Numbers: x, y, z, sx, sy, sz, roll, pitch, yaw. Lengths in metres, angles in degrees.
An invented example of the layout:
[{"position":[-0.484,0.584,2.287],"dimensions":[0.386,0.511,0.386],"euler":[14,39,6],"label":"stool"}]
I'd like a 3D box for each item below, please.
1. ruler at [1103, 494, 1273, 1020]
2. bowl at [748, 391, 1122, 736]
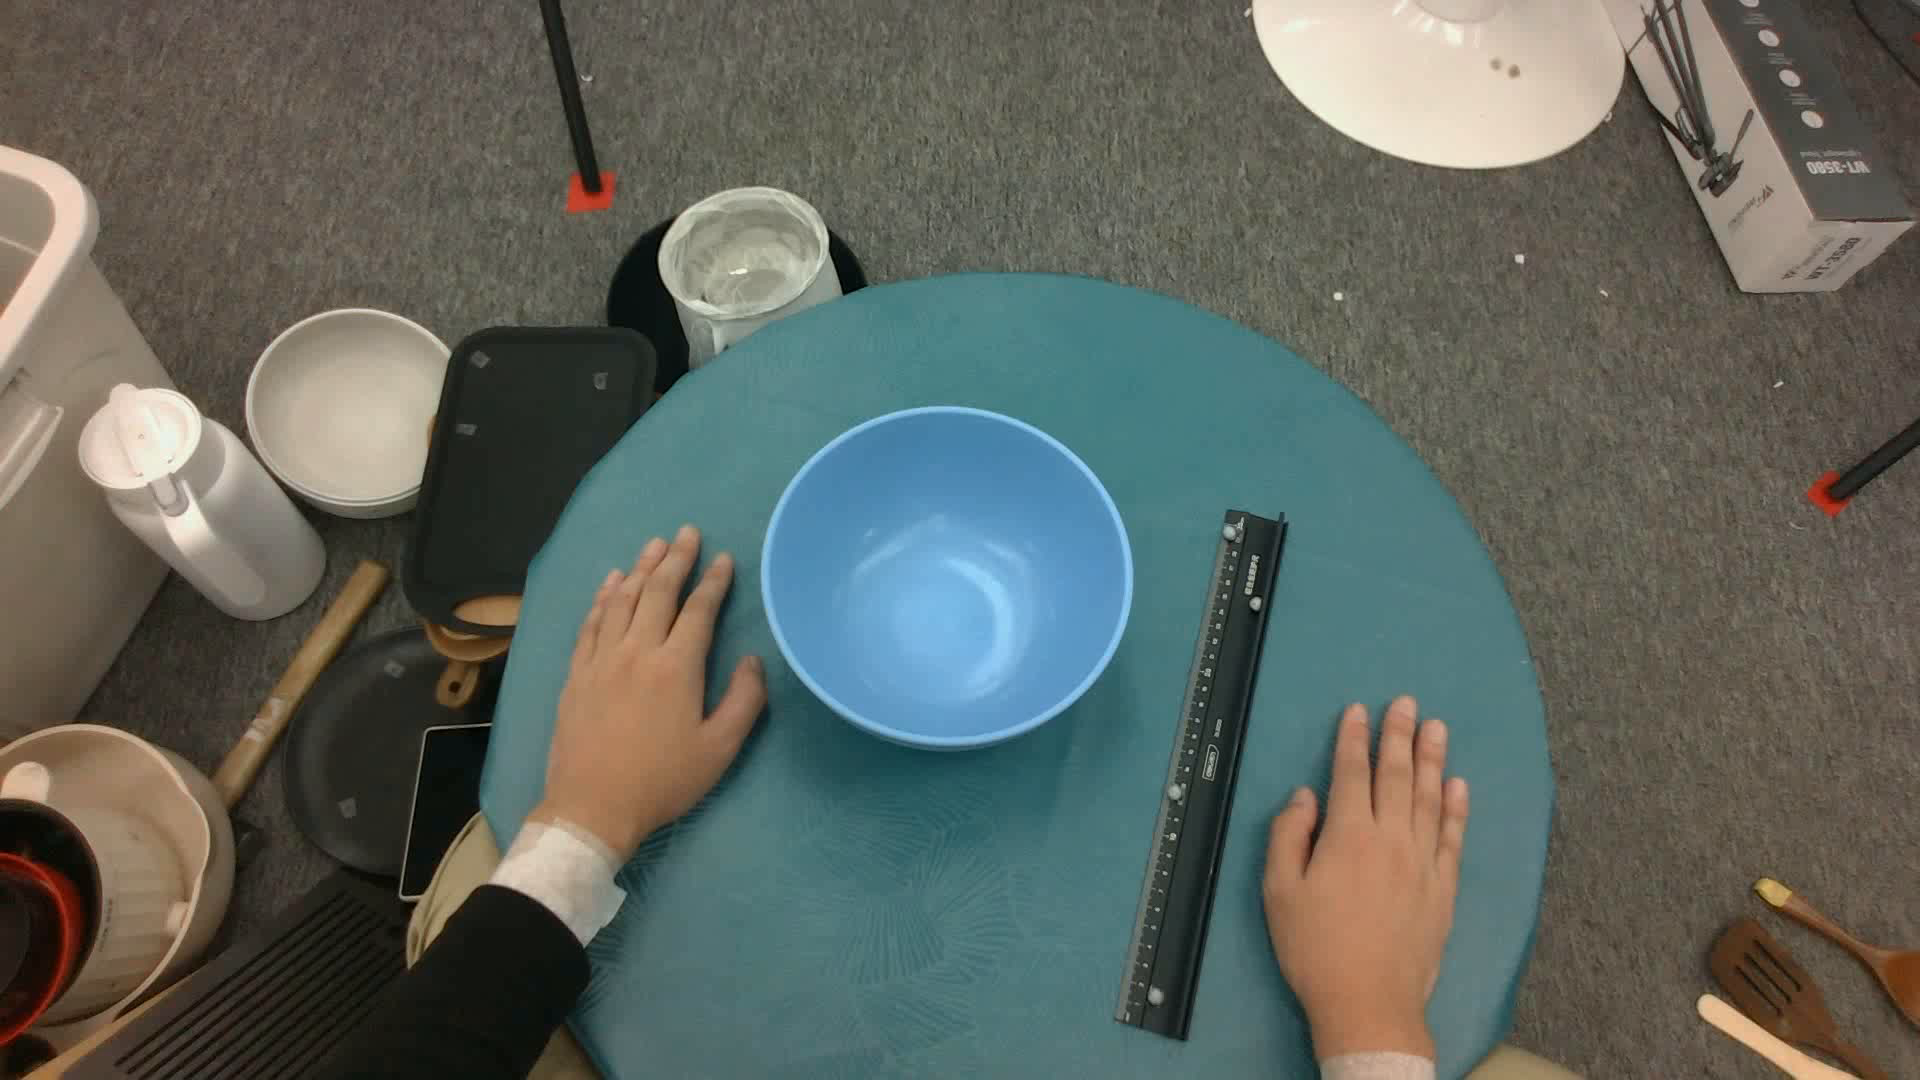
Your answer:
[{"position":[0.134,0.107,0.776],"dimensions":[0.039,0.017,0.314],"euler":[14,64,7],"label":"ruler"},{"position":[-0.015,0.025,0.762],"dimensions":[0.196,0.095,0.197],"euler":[2,63,-3],"label":"bowl"}]
